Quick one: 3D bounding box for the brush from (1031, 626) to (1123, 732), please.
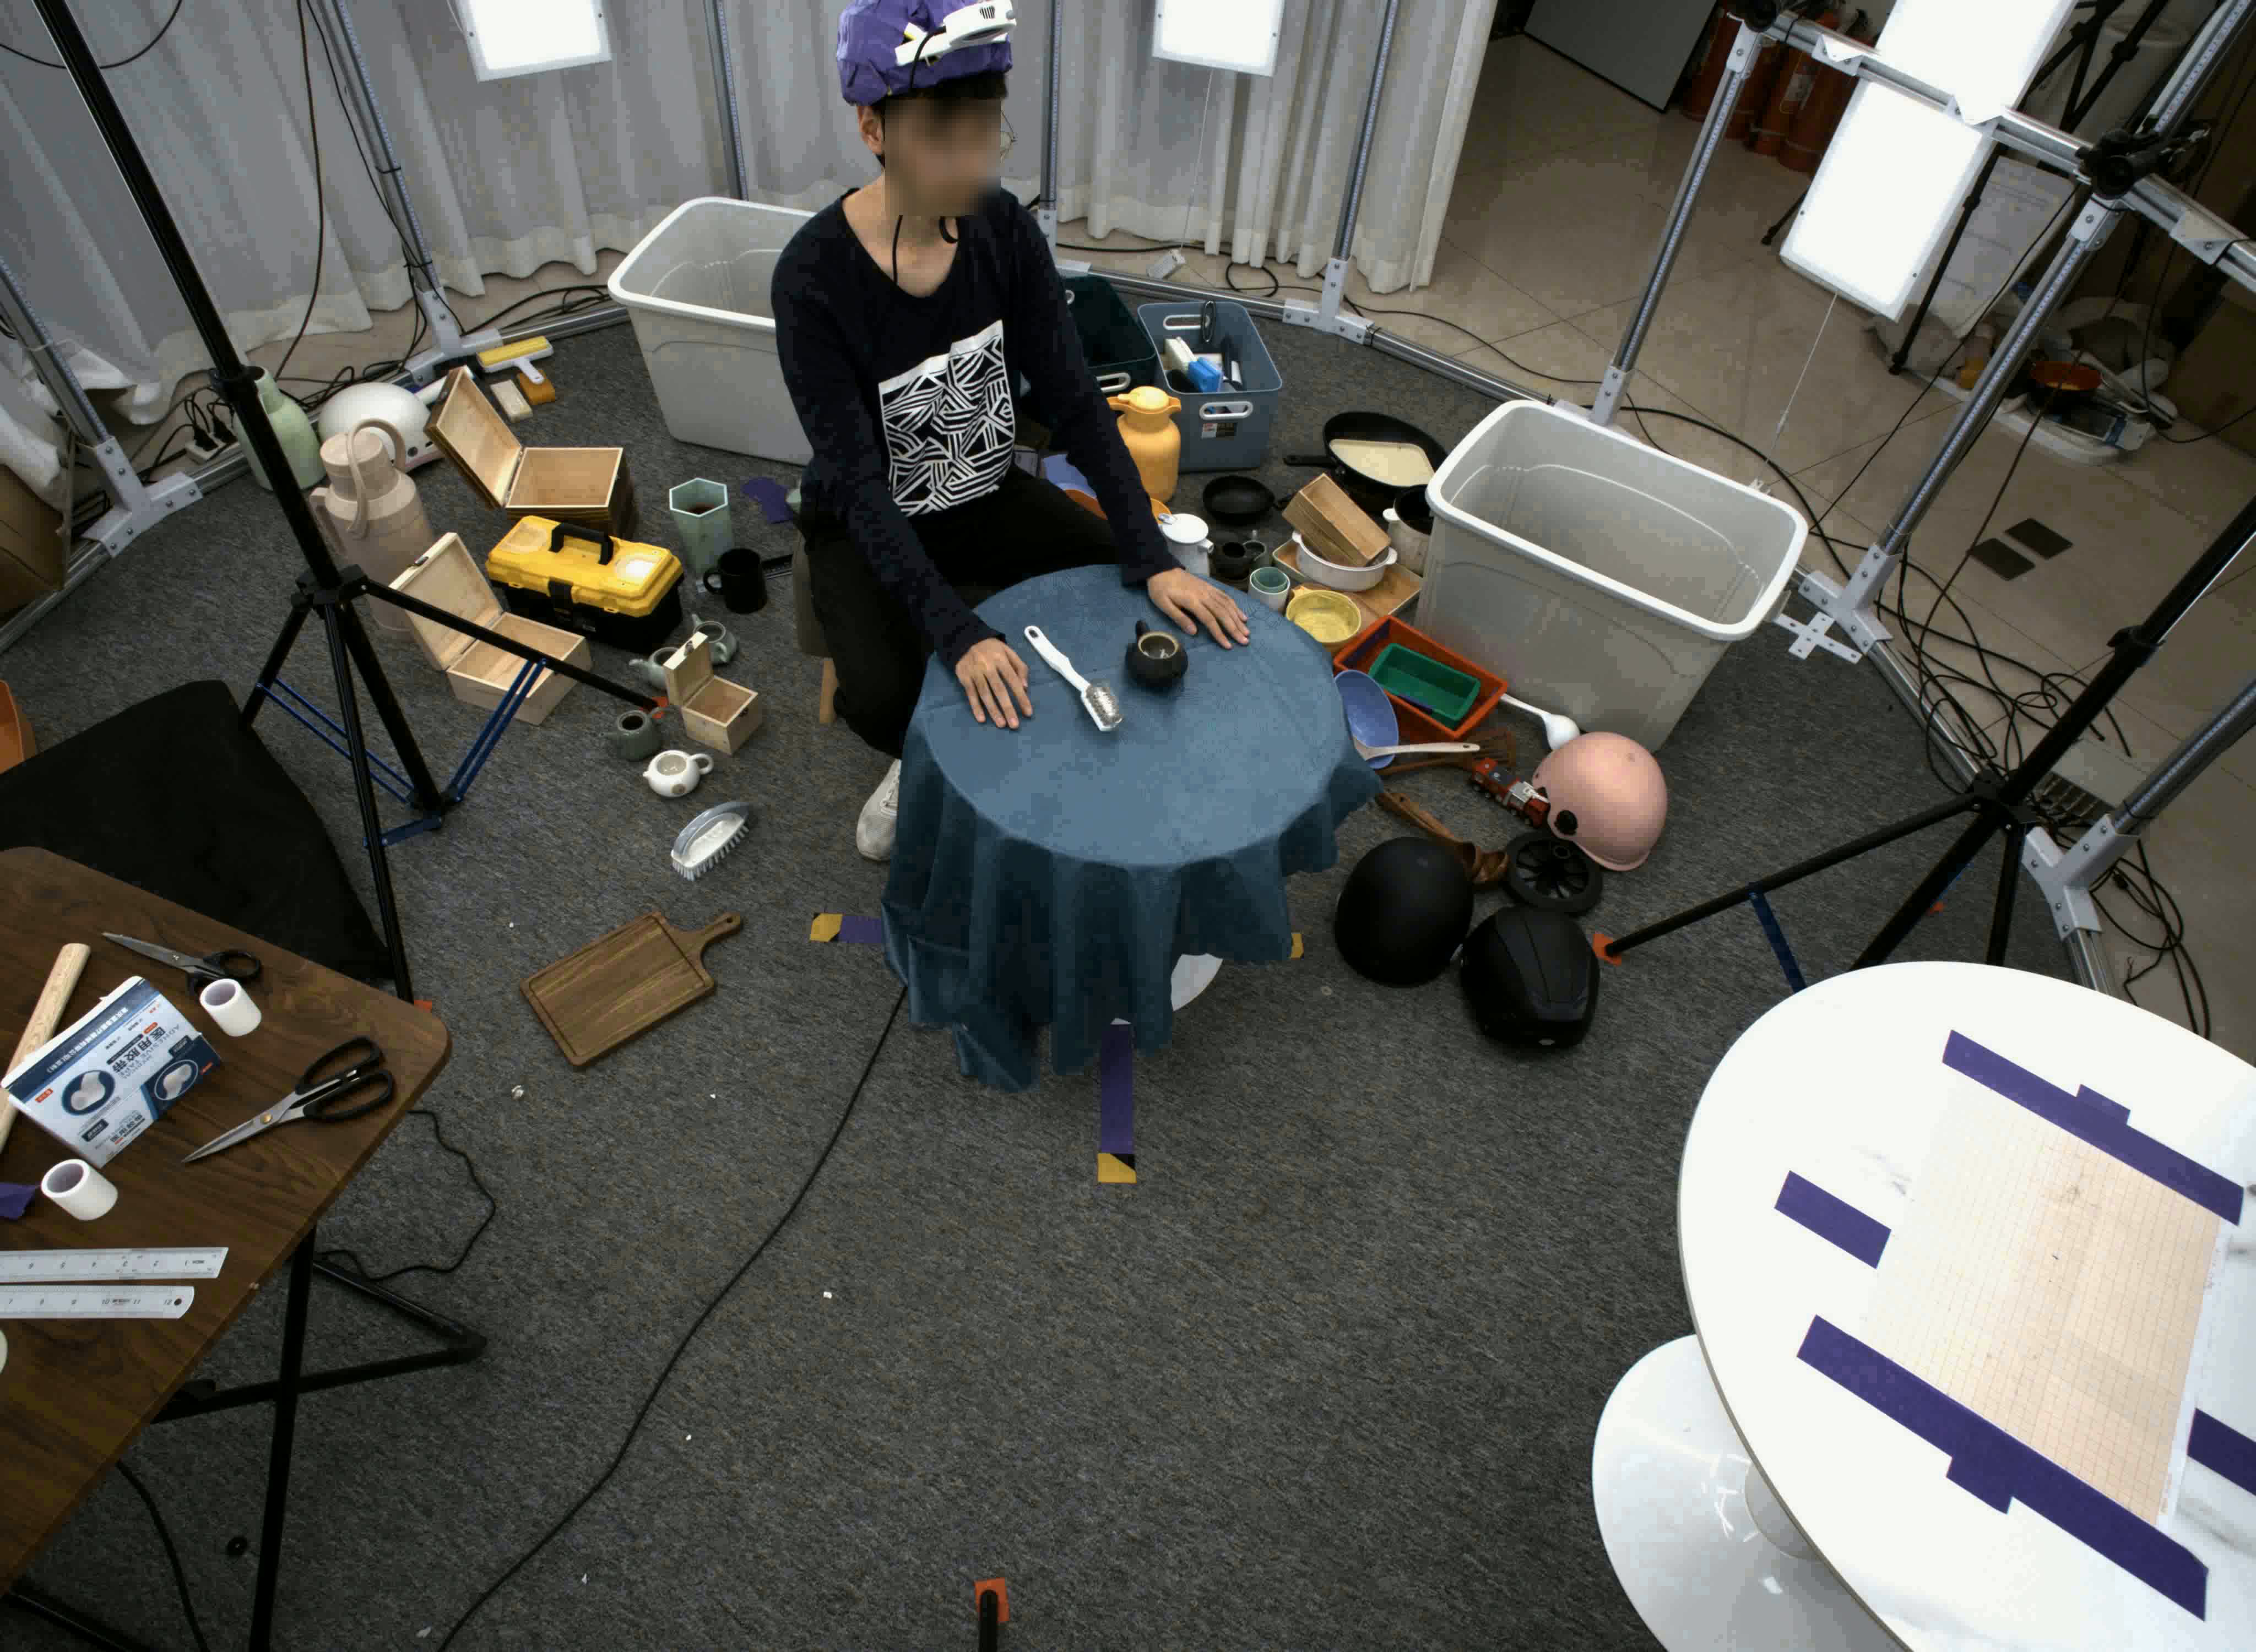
[{"bbox_3d":[-0.077,-0.223,1.827,0.034,0.049,0.249,-23,54,-17],"label":"brush"}]

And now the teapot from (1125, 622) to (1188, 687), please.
[{"bbox_3d":[0.041,-0.241,1.846,0.091,0.052,0.136,-15,50,-20],"label":"teapot"}]
